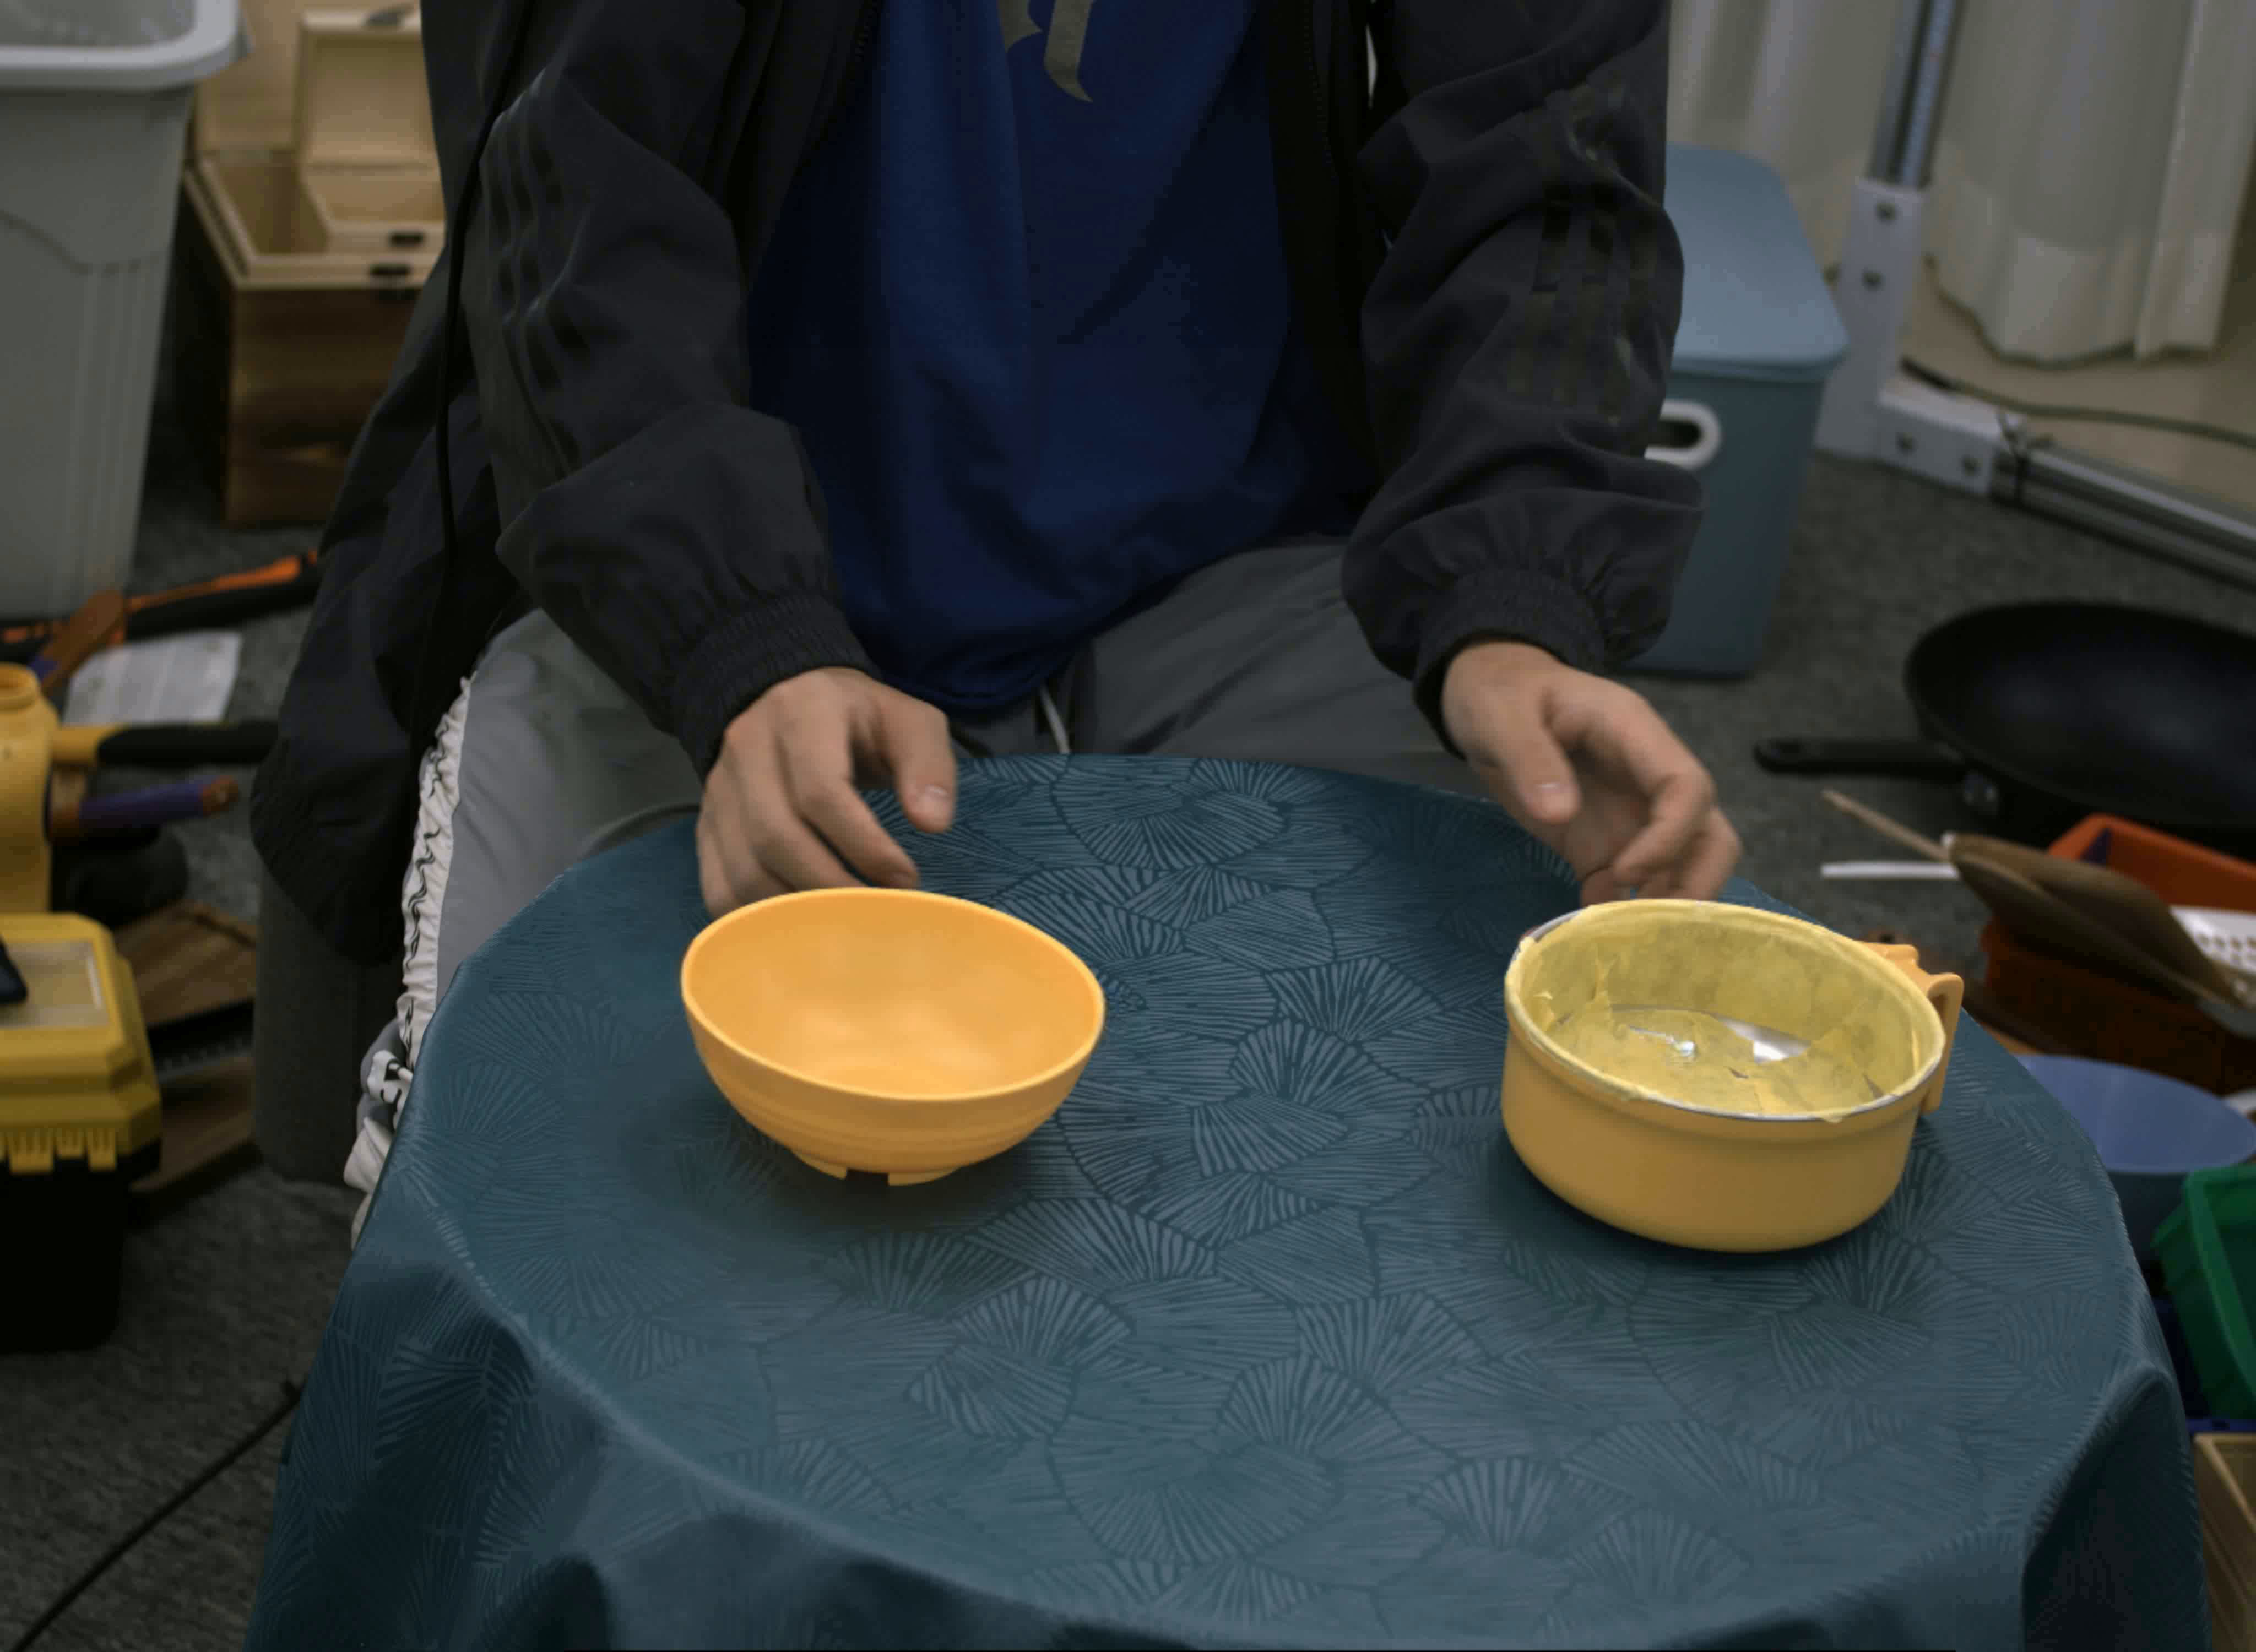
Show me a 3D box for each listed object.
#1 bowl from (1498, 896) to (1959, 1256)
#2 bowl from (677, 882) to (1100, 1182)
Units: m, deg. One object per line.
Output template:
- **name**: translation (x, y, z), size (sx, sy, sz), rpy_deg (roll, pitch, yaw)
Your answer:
- **bowl**: translation (0.213, 0.088, 1.847), size (0.178, 0.074, 0.154), rpy_deg (-16, 32, -35)
- **bowl**: translation (-0.085, 0.080, 1.807), size (0.145, 0.060, 0.146), rpy_deg (7, 27, -4)
